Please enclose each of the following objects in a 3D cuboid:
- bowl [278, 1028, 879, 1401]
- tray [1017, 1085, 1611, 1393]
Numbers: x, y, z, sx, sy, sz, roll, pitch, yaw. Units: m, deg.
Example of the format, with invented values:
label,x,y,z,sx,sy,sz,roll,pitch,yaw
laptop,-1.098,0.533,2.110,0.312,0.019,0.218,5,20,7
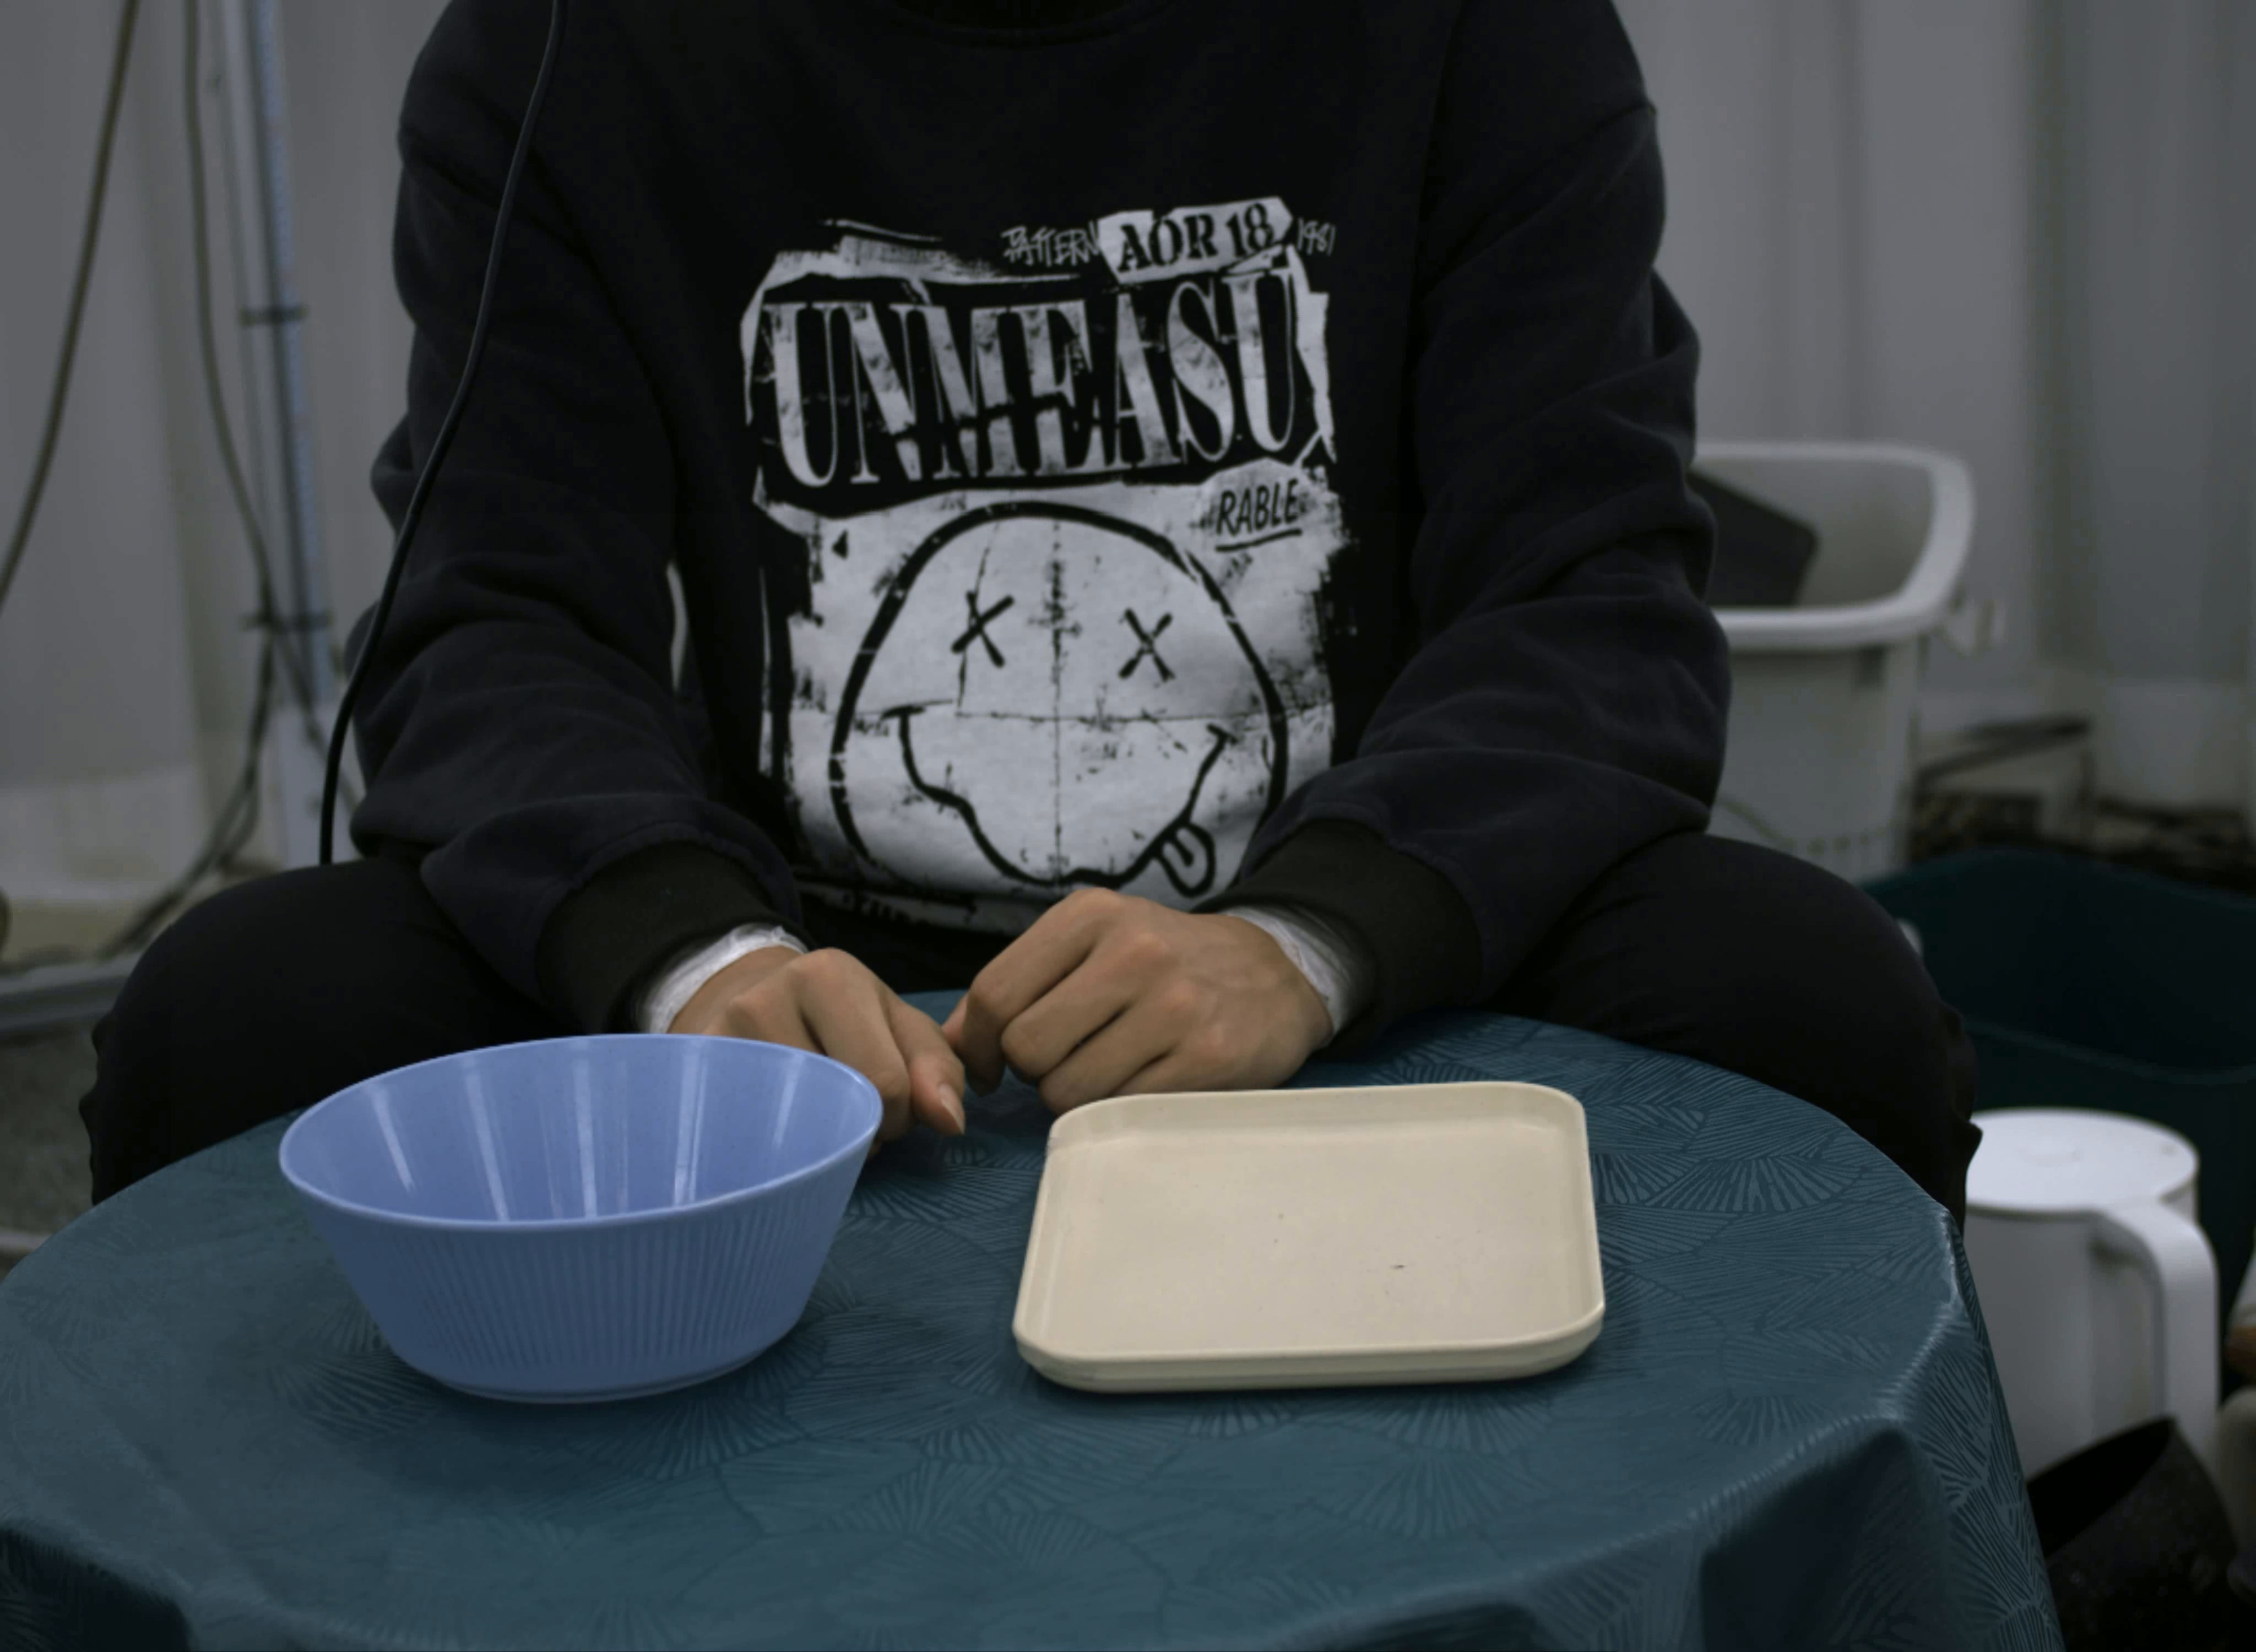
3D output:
label,x,y,z,sx,sy,sz,roll,pitch,yaw
bowl,-0.158,0.116,1.601,0.175,0.070,0.177,-3,16,0
tray,0.056,0.123,1.639,0.171,0.017,0.241,-1,15,3
